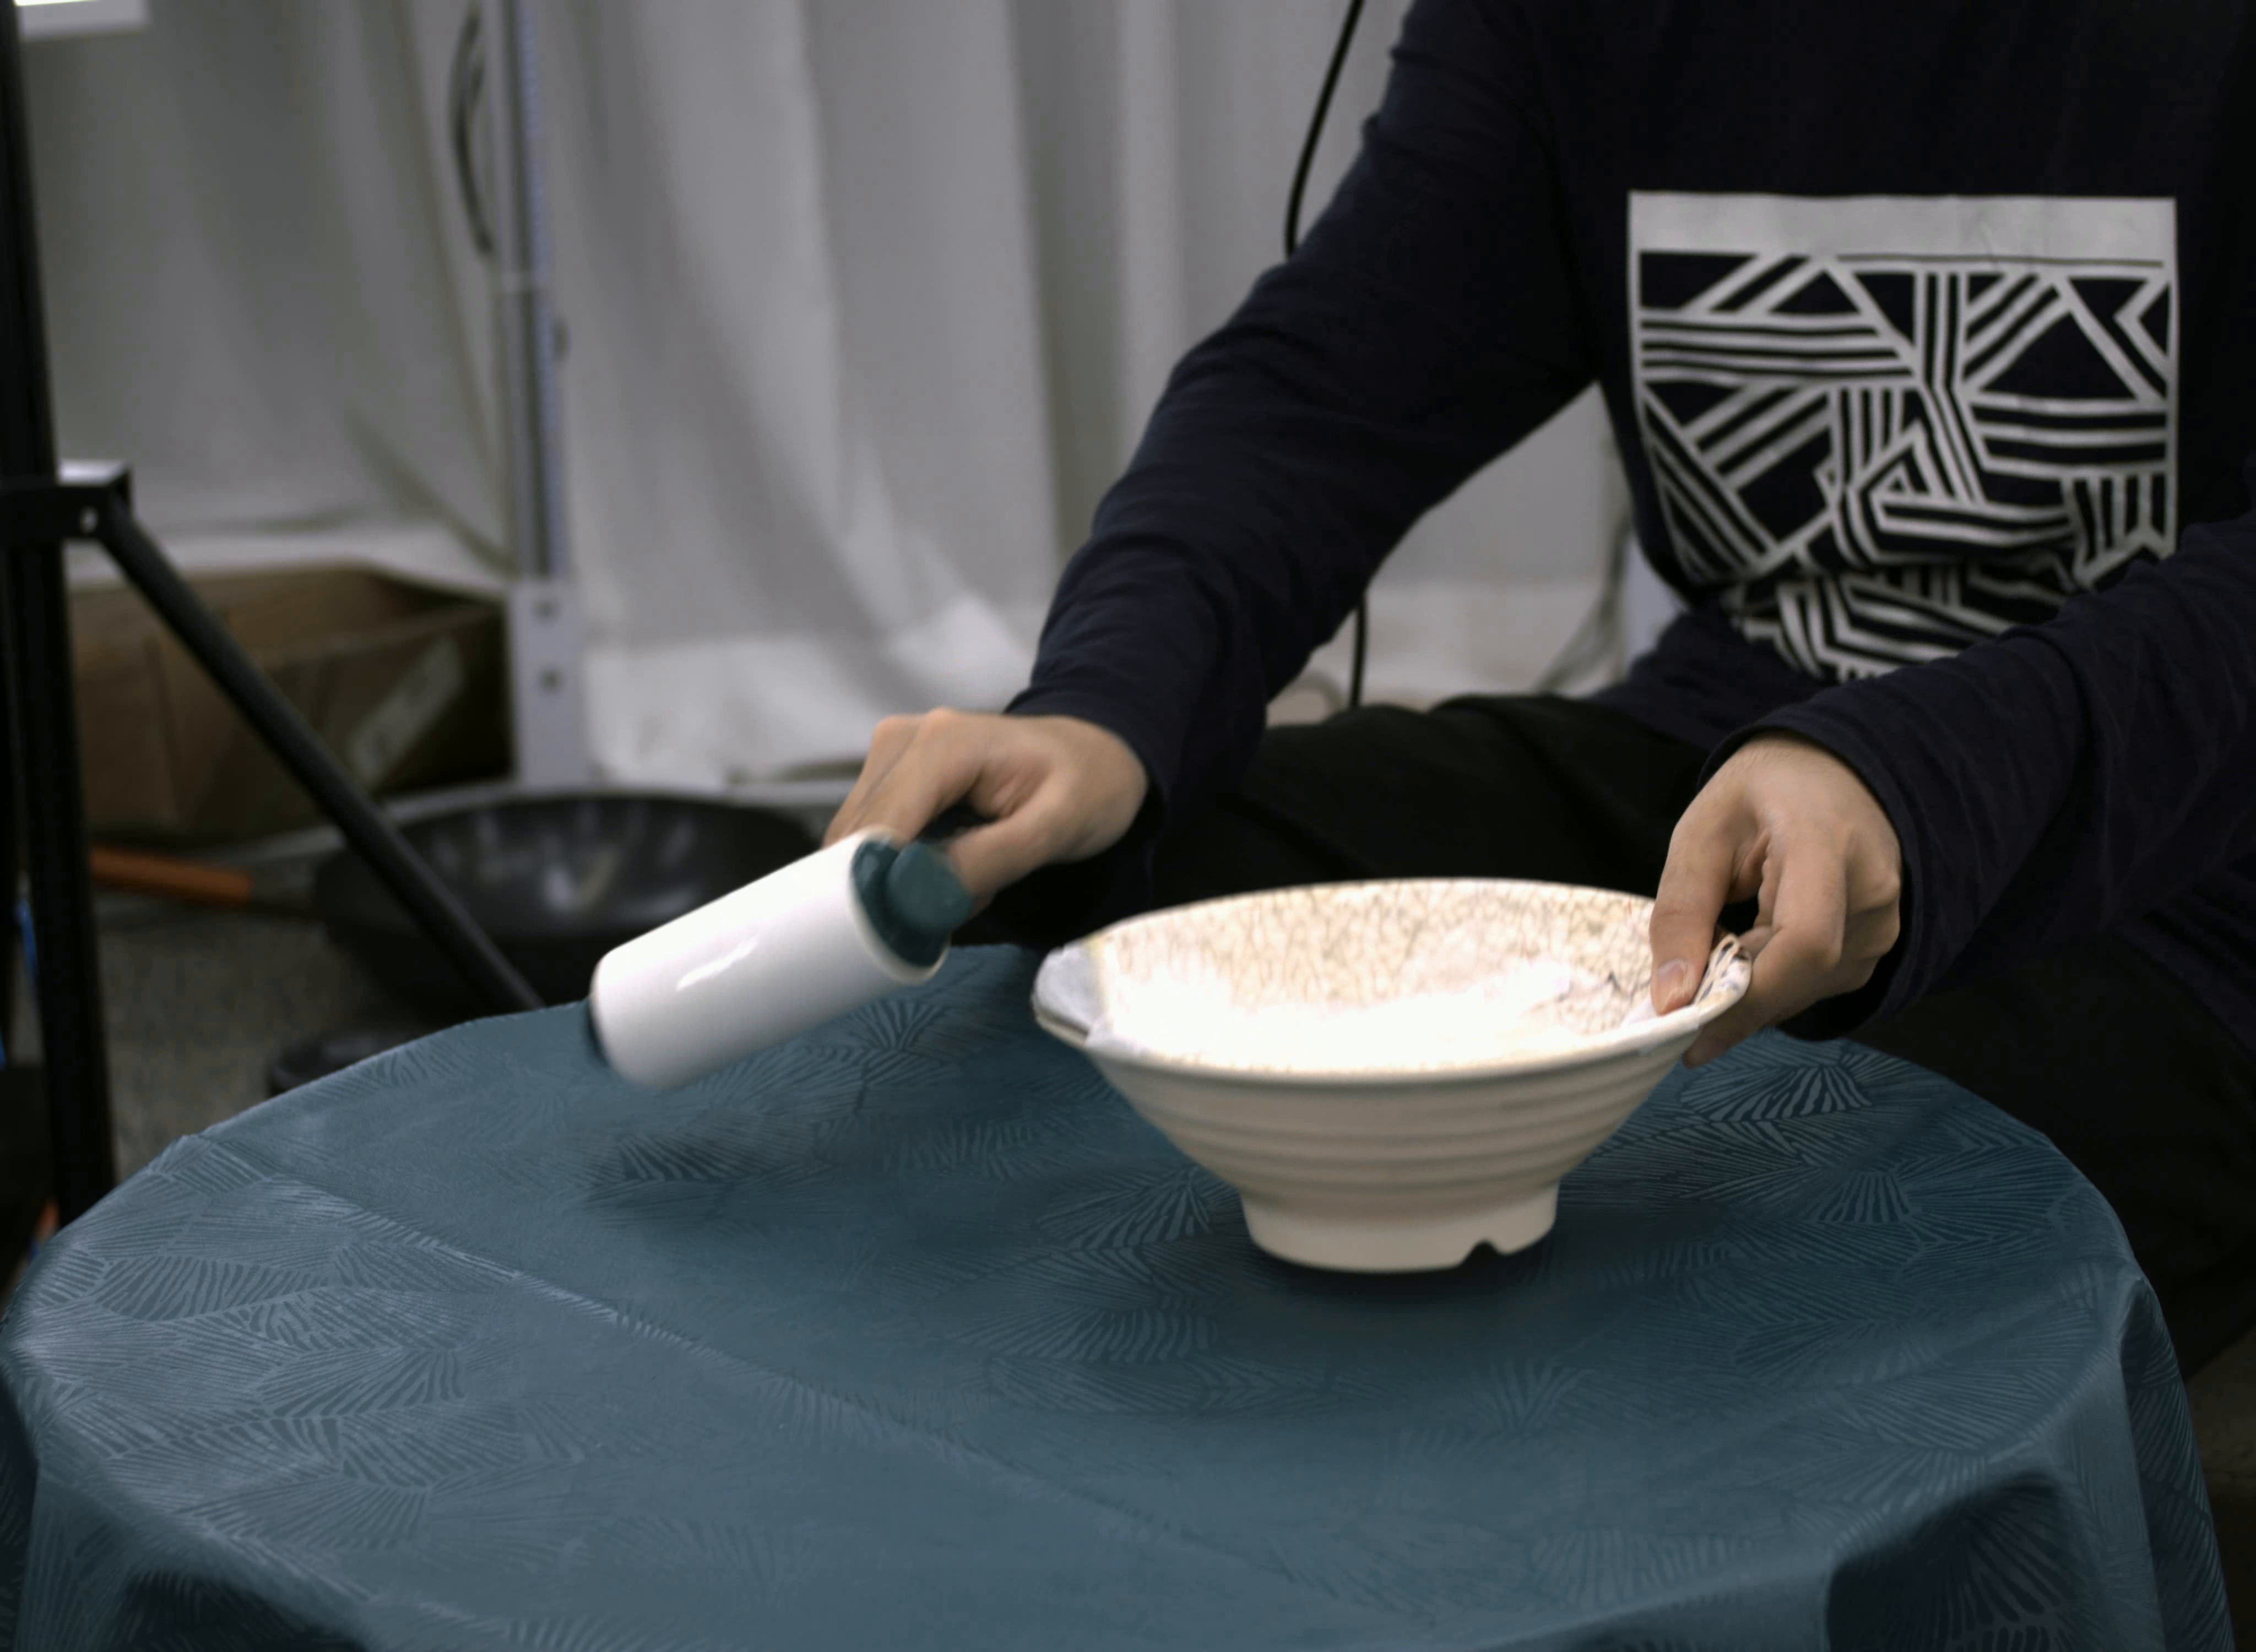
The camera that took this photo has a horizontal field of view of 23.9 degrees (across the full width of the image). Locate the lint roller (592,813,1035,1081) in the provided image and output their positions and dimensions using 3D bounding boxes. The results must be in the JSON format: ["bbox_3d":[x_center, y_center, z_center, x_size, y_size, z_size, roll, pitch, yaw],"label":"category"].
[{"bbox_3d":[-0.078,0.016,1.639,0.136,0.048,0.178,-26,7,29],"label":"lint roller"}]

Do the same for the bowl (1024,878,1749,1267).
[{"bbox_3d":[0.072,0.075,1.497,0.203,0.078,0.205,0,12,-1],"label":"bowl"}]
